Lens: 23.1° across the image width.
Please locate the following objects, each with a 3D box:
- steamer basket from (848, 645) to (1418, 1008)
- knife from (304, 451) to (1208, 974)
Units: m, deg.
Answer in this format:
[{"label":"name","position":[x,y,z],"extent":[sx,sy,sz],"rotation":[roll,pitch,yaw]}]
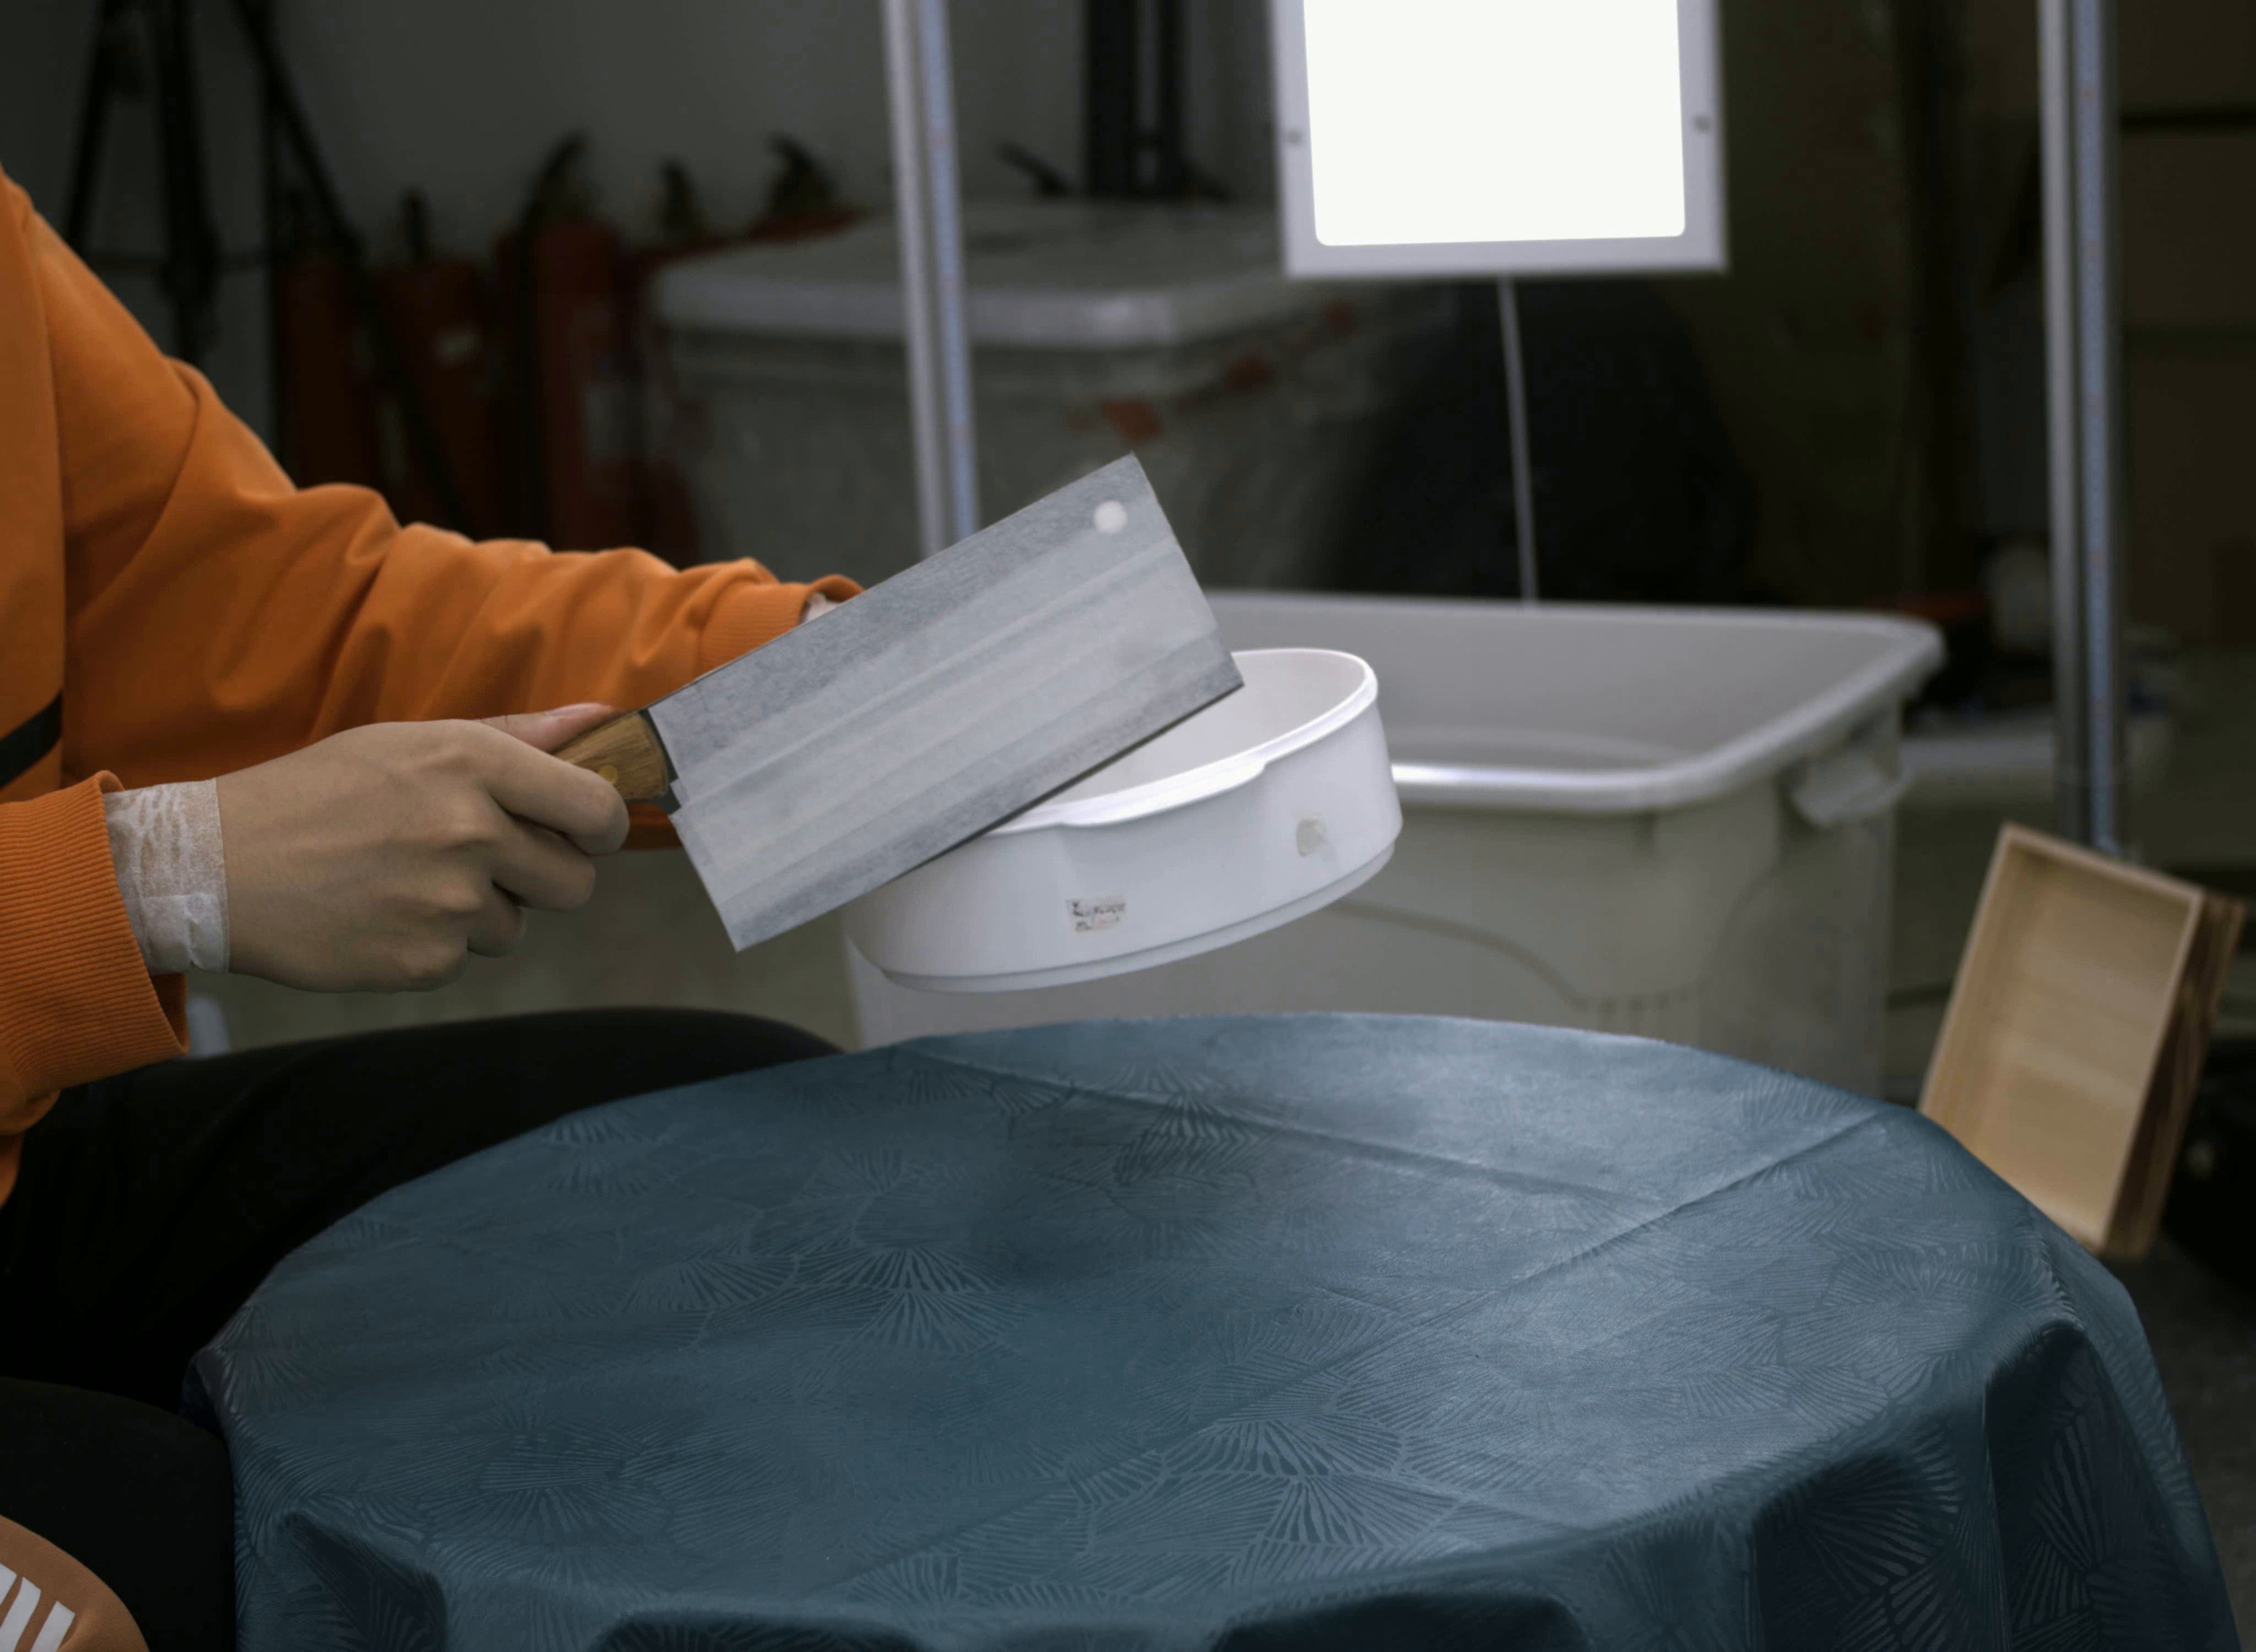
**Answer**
[{"label":"steamer basket","position":[0.001,0.001,1.894],"extent":[0.200,0.069,0.233],"rotation":[-18,16,-11]},{"label":"knife","position":[-0.115,-0.016,1.787],"extent":[0.304,0.092,0.021],"rotation":[-28,20,-3]}]
